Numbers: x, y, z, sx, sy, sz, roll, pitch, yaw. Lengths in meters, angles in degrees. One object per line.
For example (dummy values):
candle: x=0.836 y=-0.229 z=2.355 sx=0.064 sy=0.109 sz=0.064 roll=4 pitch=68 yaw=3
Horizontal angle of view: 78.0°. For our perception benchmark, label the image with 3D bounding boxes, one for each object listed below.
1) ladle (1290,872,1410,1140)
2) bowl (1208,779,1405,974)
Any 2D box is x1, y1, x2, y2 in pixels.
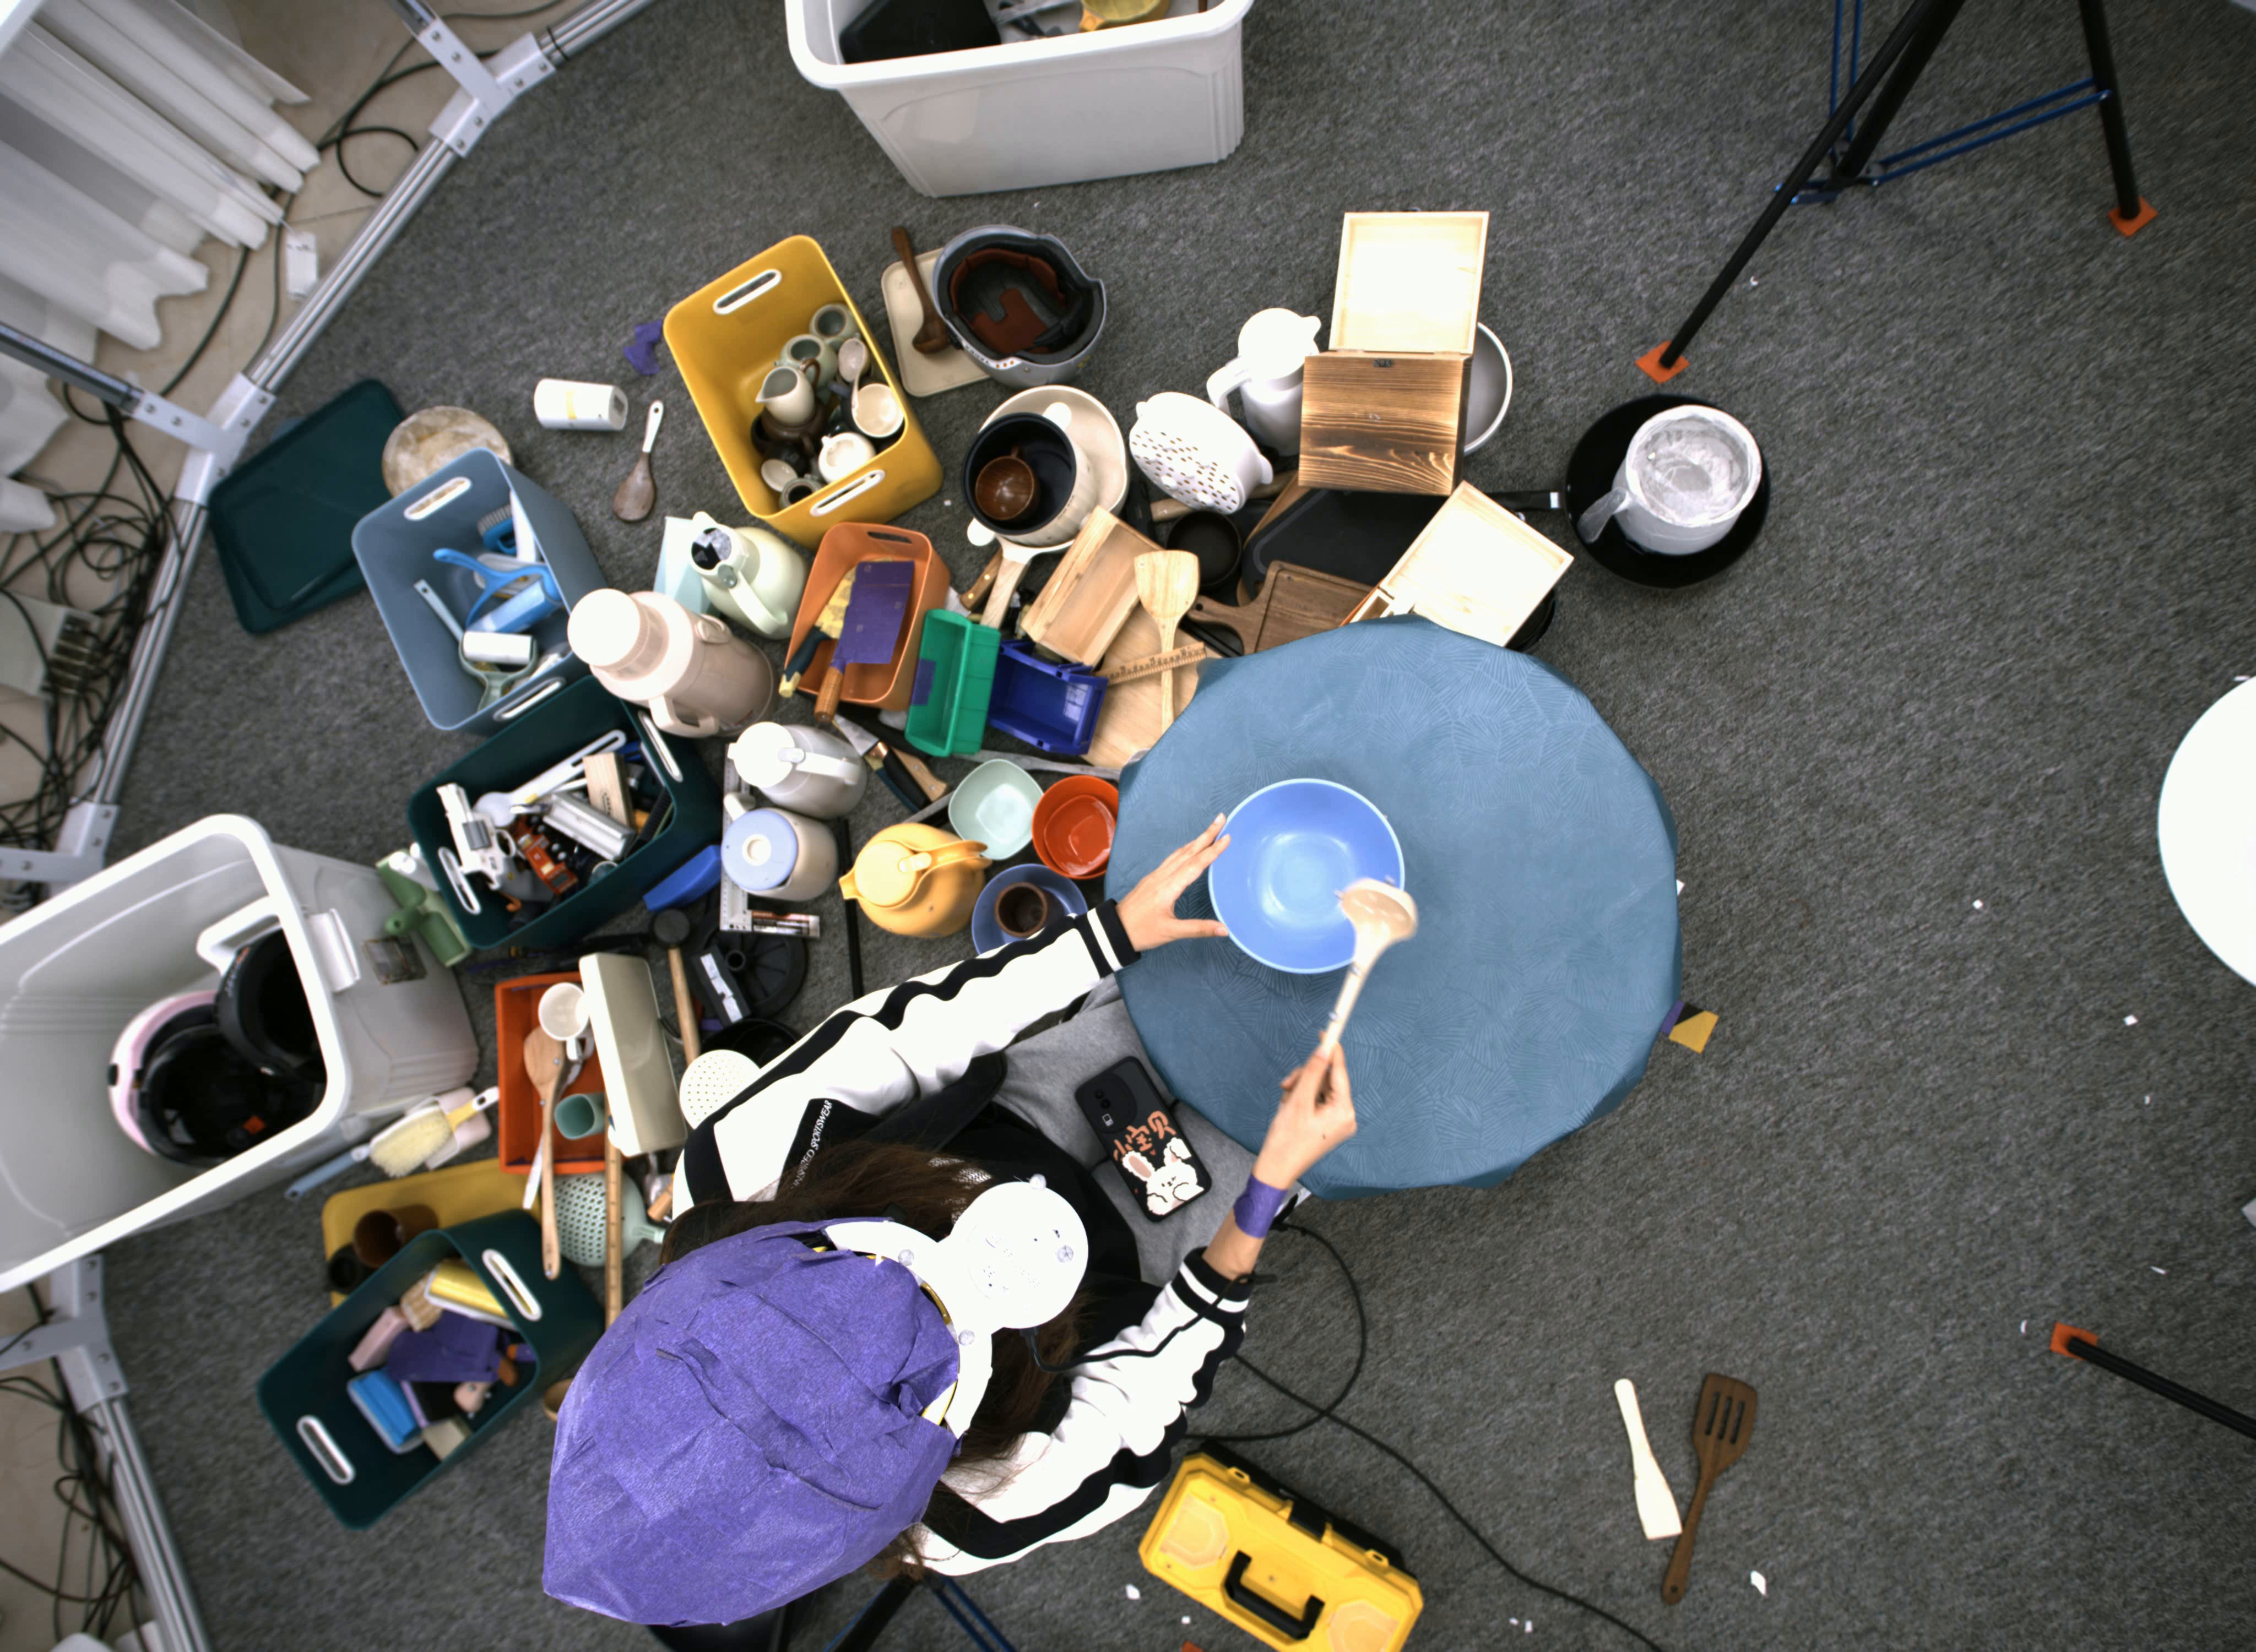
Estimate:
ladle: x=0.191 y=0.165 z=1.263 sx=0.072 sy=0.073 sz=0.253 roll=18 pitch=87 yaw=15
bowl: x=0.185 y=0.053 z=1.432 sx=0.197 sy=0.095 sz=0.196 roll=-1 pitch=88 yaw=9
